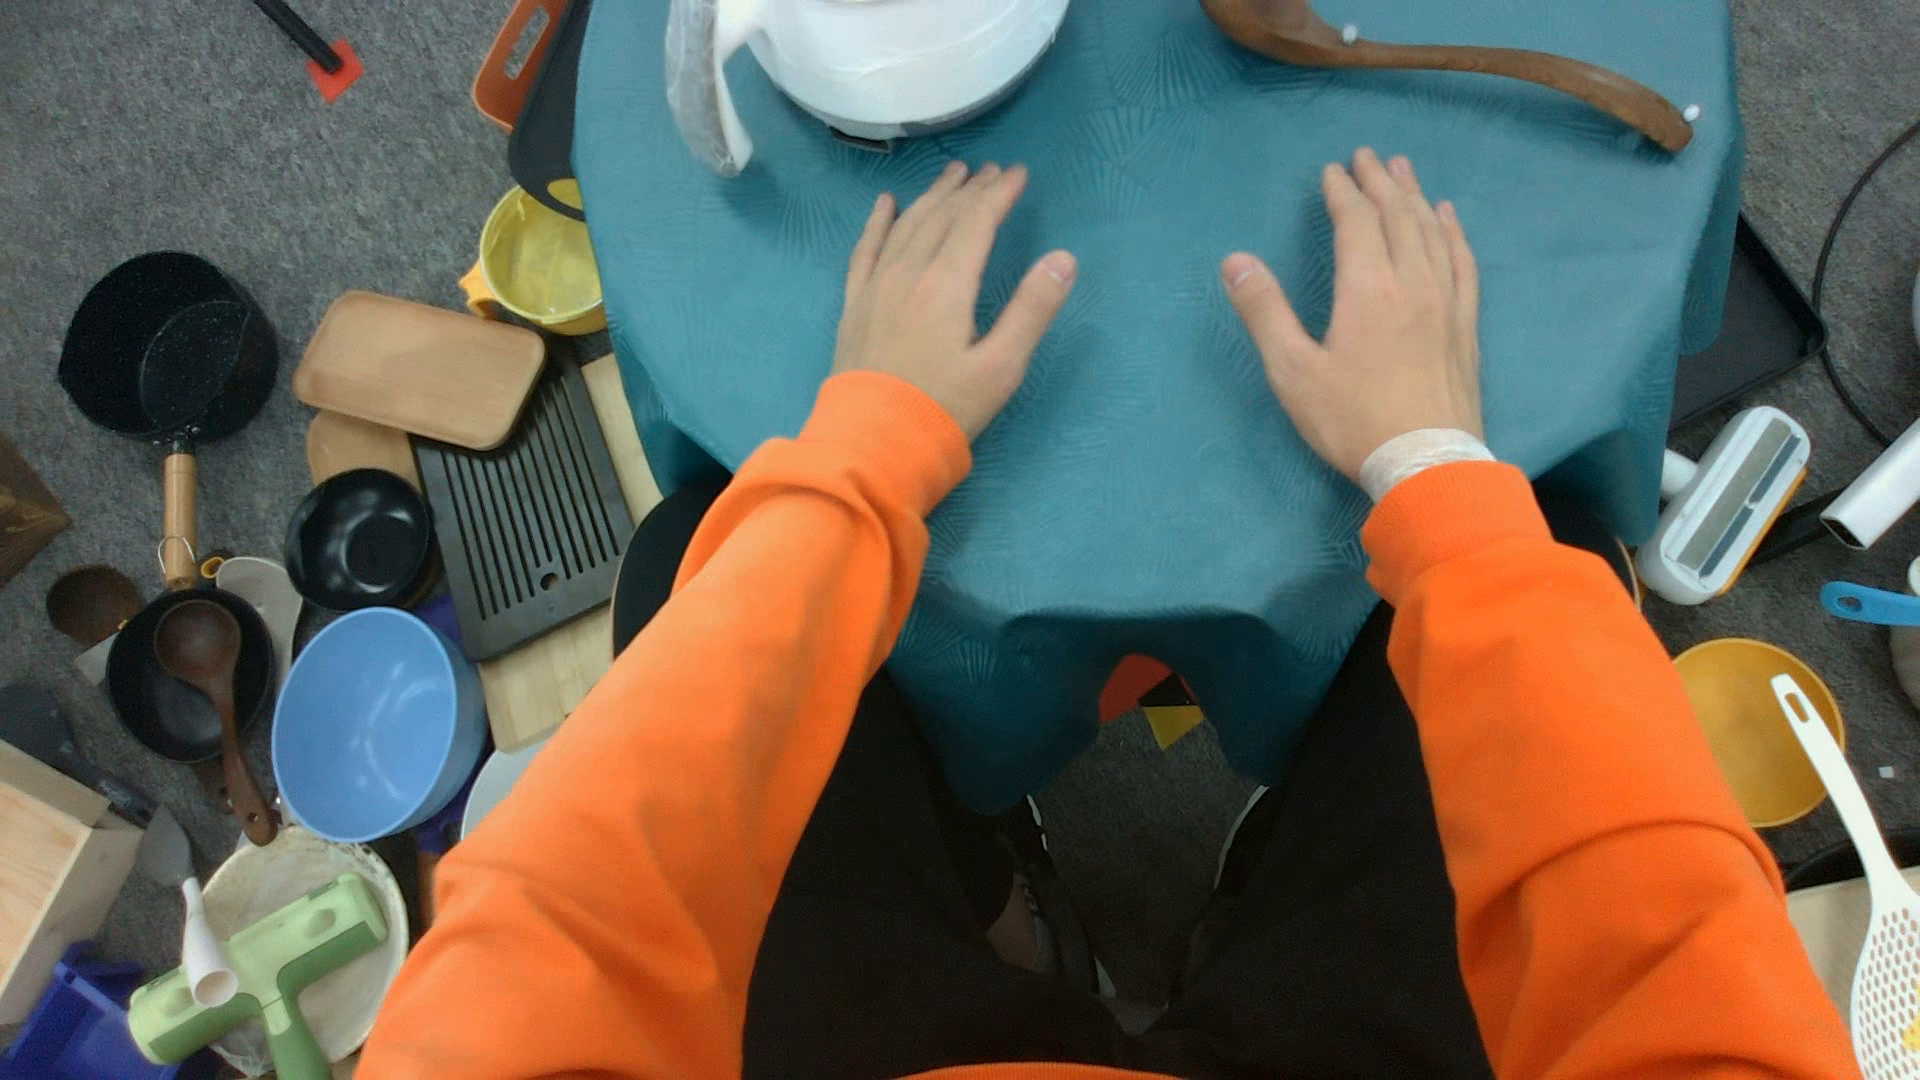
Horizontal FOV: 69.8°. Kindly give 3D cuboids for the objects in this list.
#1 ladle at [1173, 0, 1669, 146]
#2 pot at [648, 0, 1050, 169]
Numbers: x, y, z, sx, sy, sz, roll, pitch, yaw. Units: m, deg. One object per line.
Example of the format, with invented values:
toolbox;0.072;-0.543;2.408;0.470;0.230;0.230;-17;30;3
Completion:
ladle;0.226;-0.254;0.679;0.260;0.065;0.077;17;52;11
pot;-0.062;-0.287;0.678;0.179;0.136;0.234;43;83;15
